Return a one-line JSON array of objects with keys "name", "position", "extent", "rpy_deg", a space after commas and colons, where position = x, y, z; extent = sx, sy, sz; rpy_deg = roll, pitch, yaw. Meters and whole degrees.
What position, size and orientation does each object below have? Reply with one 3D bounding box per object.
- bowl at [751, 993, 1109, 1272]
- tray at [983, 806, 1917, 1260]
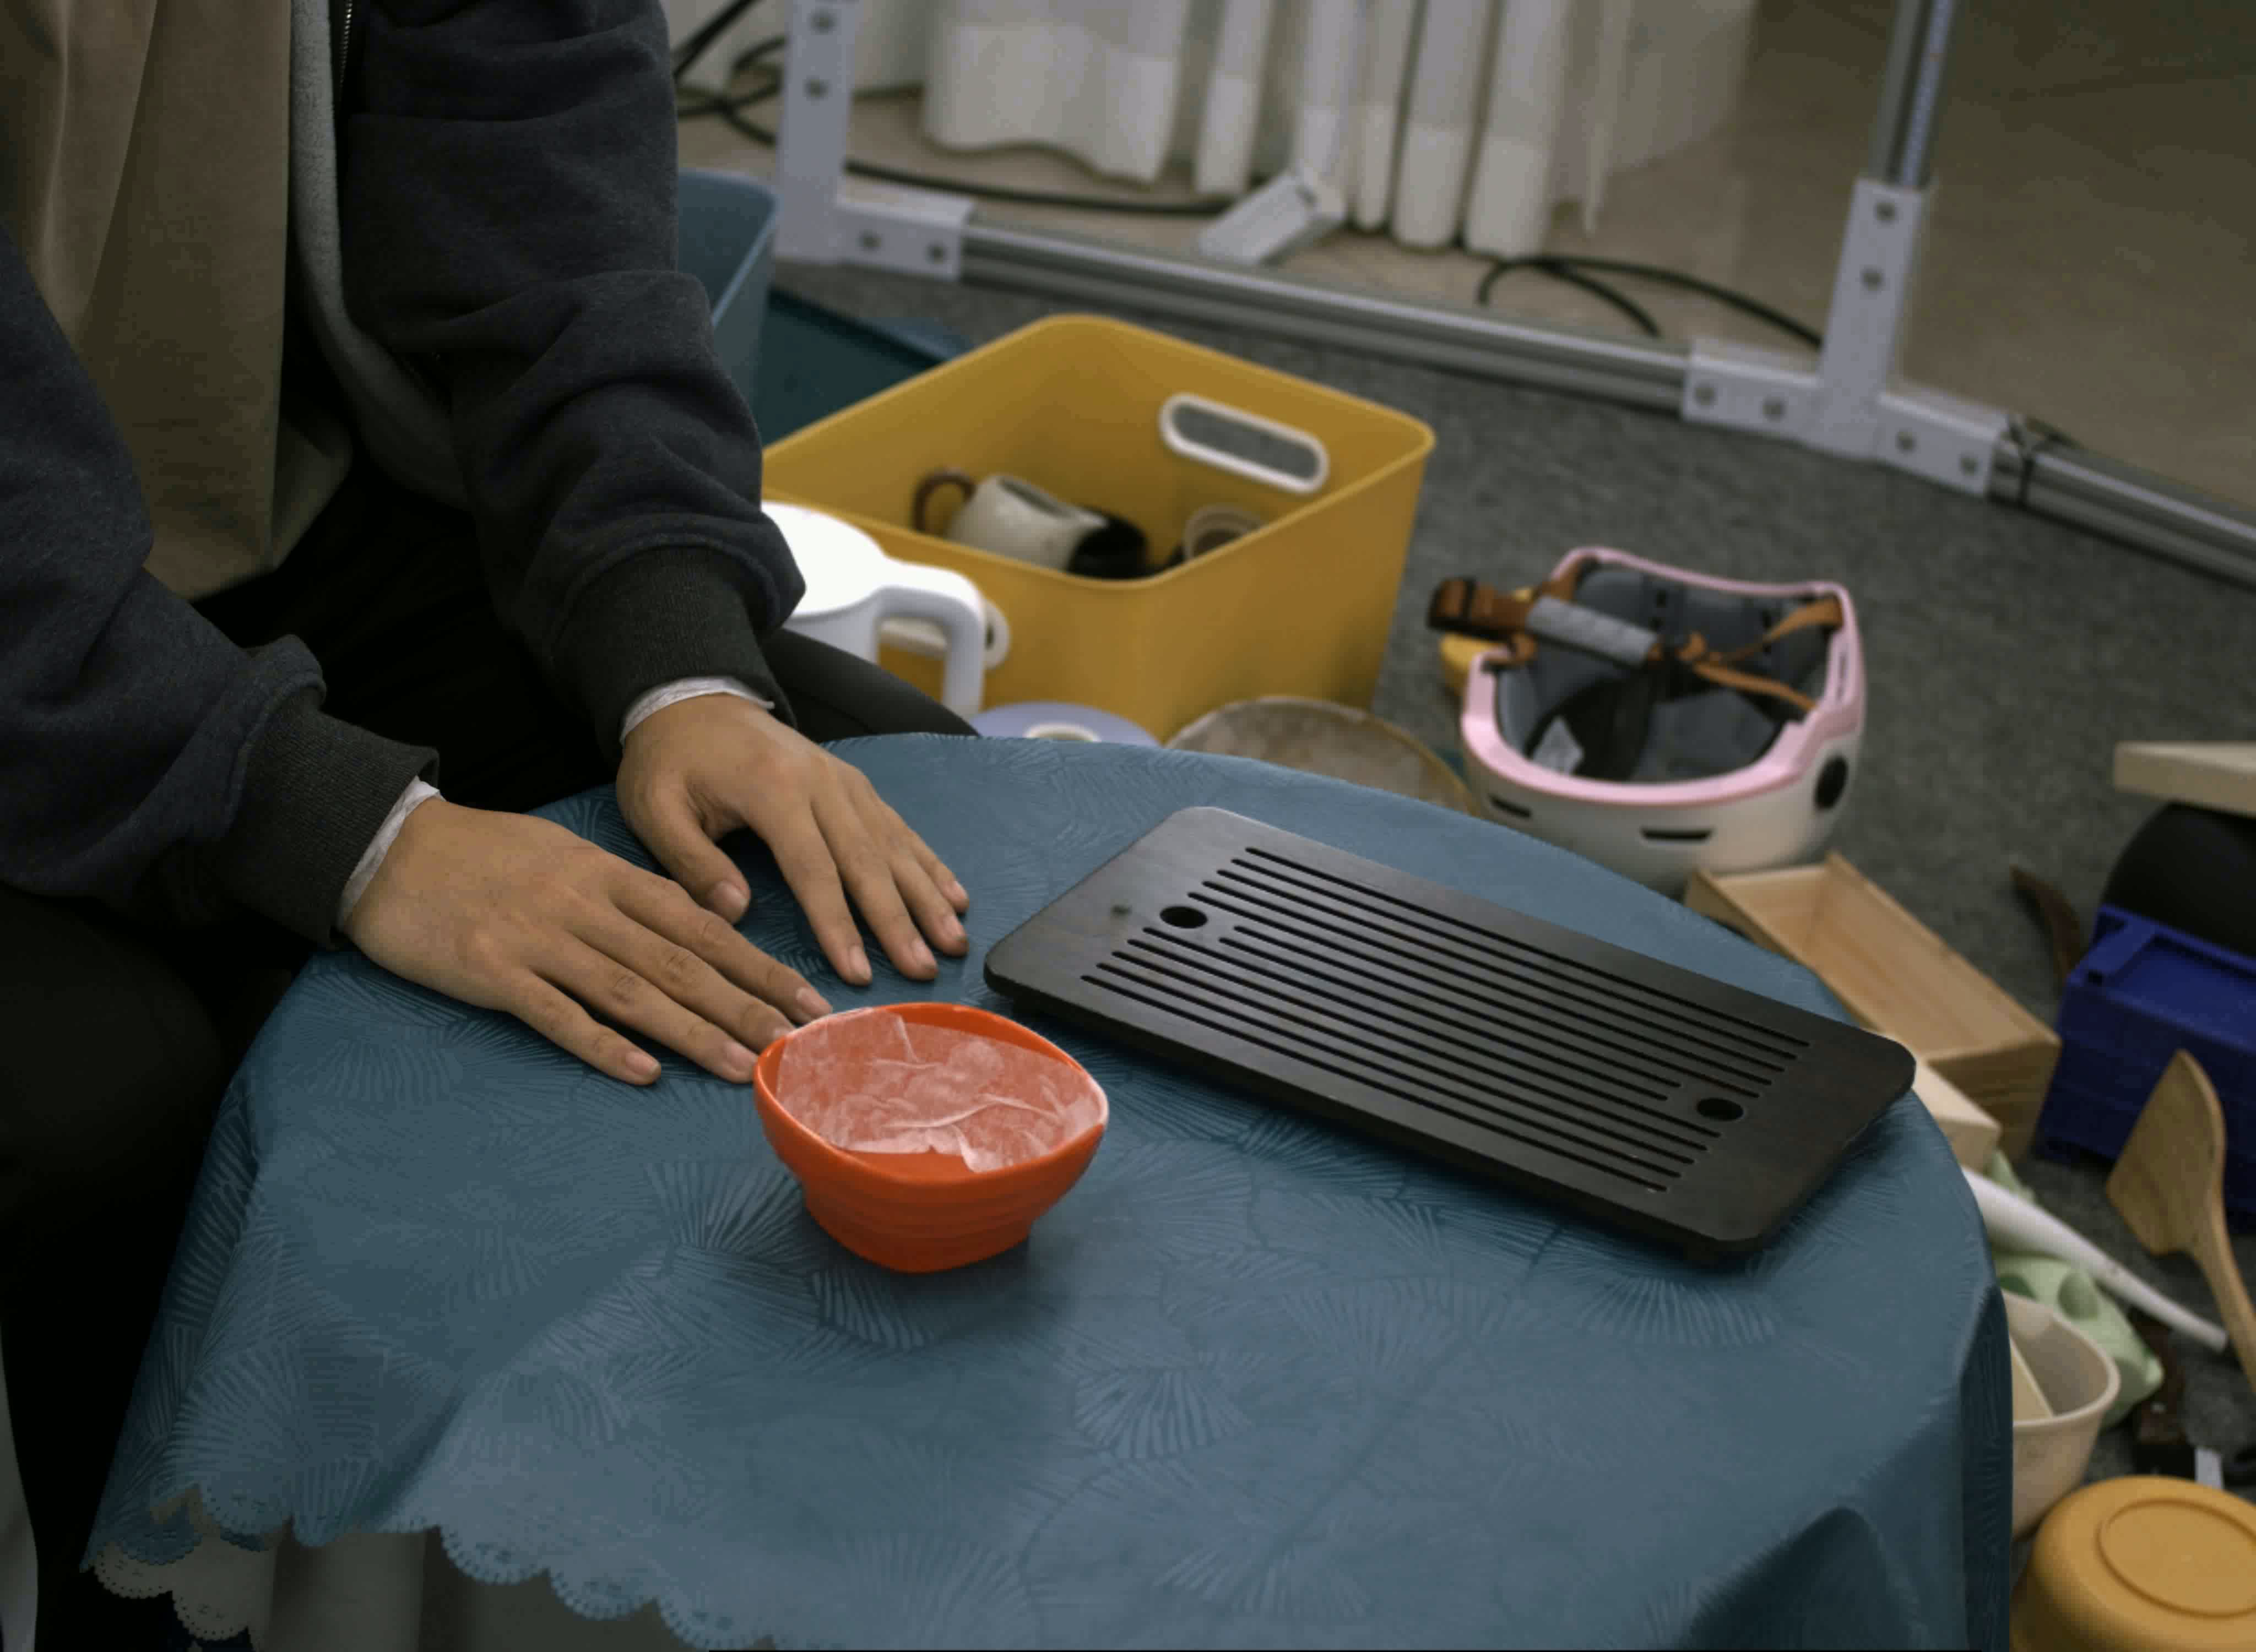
[{"name": "bowl", "position": [-0.068, 0.106, 1.761], "extent": [0.118, 0.051, 0.119], "rpy_deg": [5, 28, -3]}, {"name": "tray", "position": [0.115, 0.072, 1.909], "extent": [0.307, 0.018, 0.170], "rpy_deg": [19, 30, 24]}]
